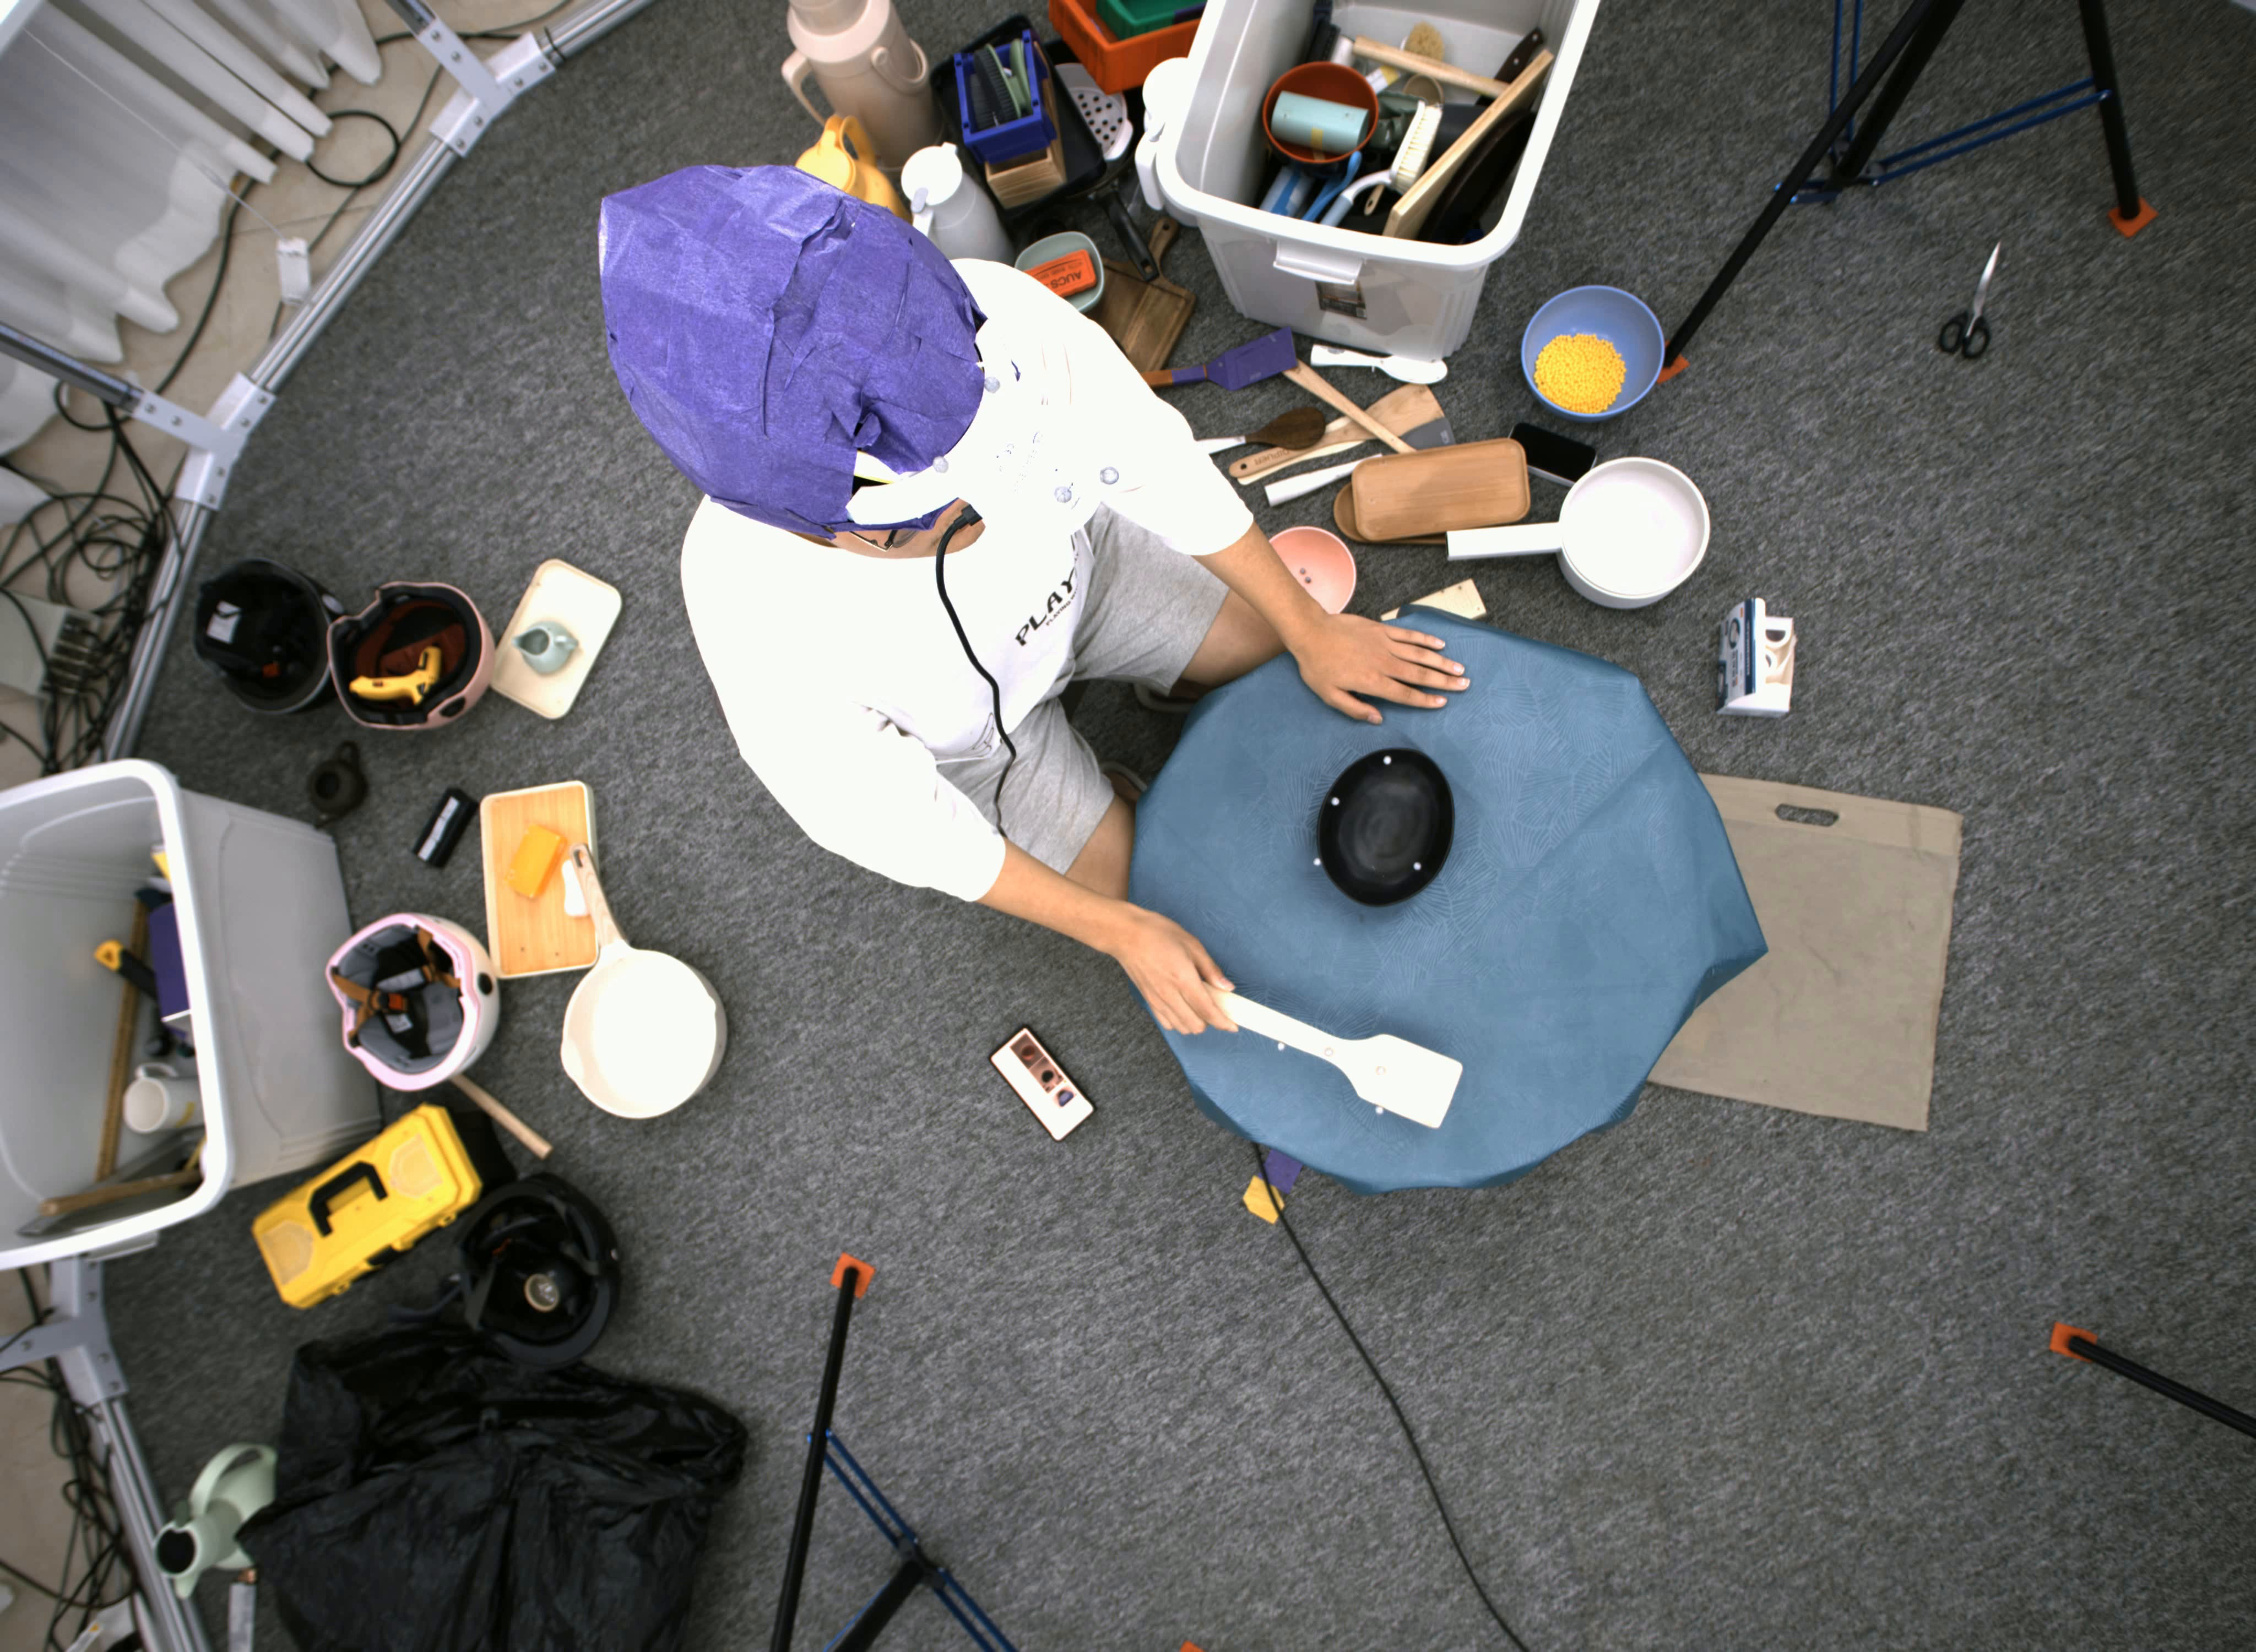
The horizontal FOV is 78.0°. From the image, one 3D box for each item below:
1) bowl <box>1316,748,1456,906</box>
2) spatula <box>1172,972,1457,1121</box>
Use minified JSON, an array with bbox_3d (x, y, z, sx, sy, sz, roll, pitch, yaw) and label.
[{"bbox_3d":[0.268,0.000,1.432,0.137,0.067,0.170,18,88,12],"label":"bowl"},{"bbox_3d":[0.181,0.210,1.390,0.293,0.010,0.072,20,91,11],"label":"spatula"}]
